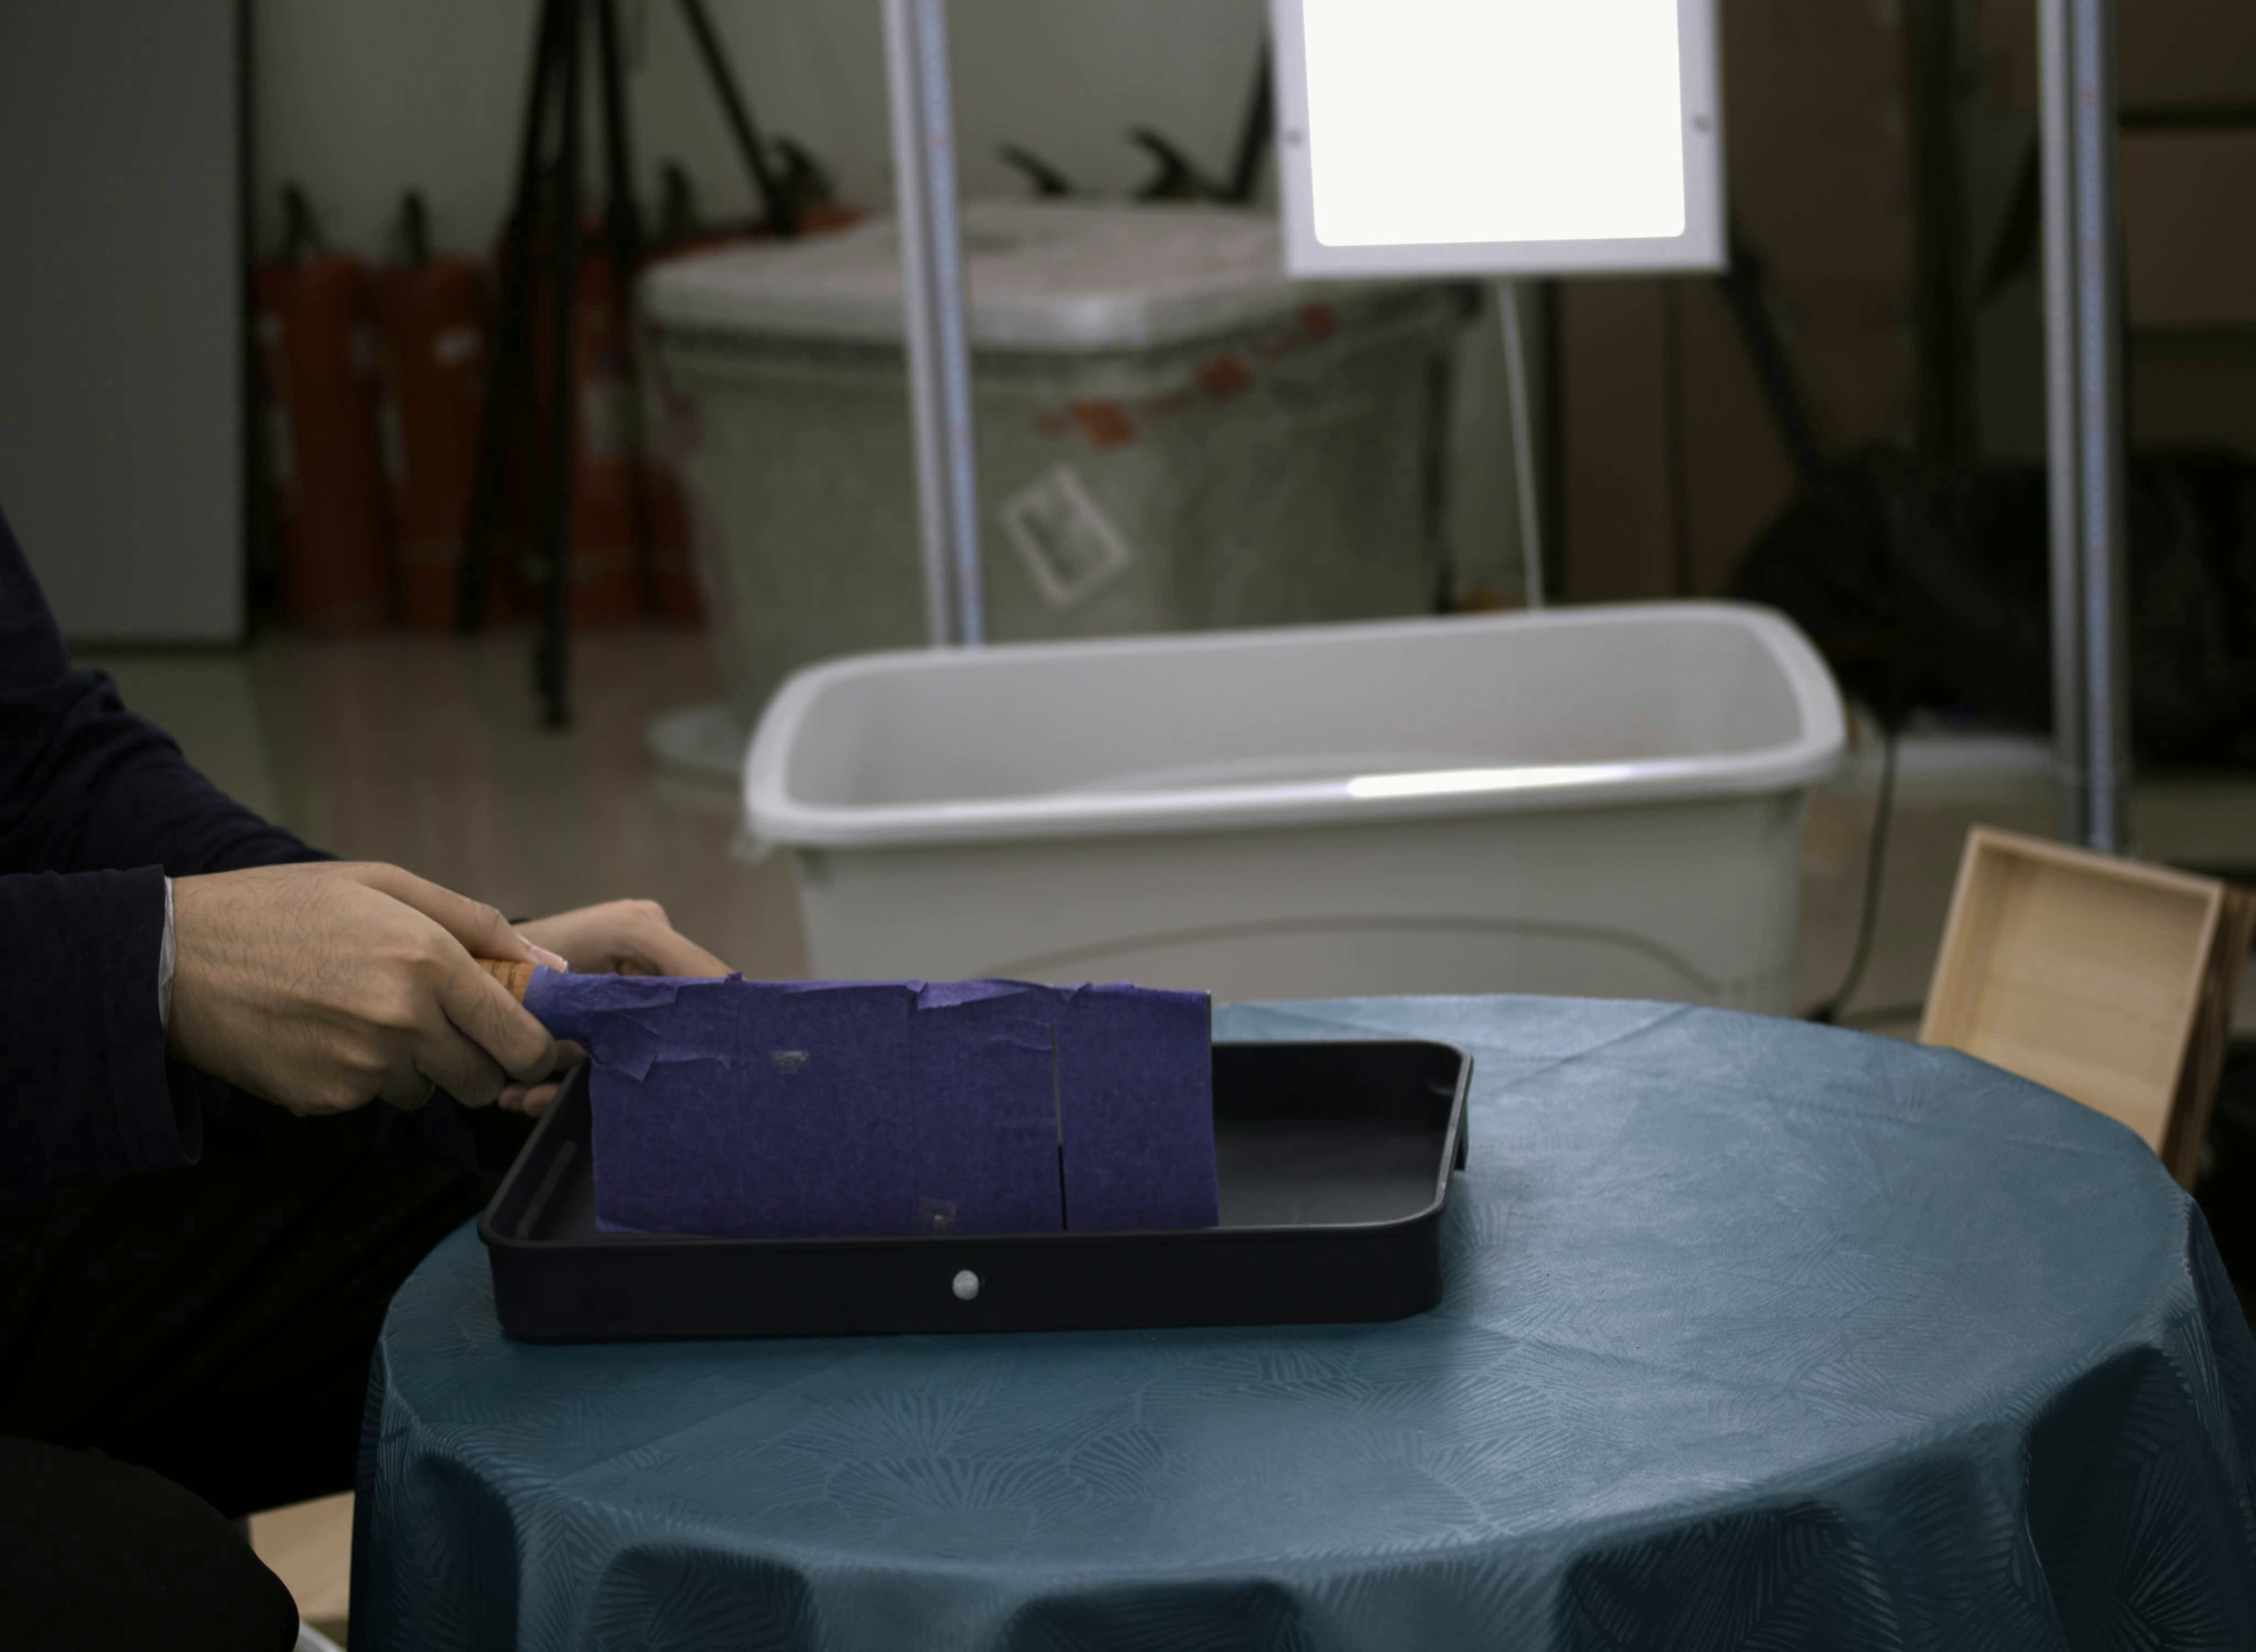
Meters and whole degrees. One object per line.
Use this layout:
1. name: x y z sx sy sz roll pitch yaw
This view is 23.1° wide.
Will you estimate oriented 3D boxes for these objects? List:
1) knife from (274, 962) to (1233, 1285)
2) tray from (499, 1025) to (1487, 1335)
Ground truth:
1. knife: -0.123 0.099 1.784 0.317 0.104 0.032 -2 -14 10
2. tray: -0.040 0.117 1.848 0.319 0.037 0.182 -2 18 9
